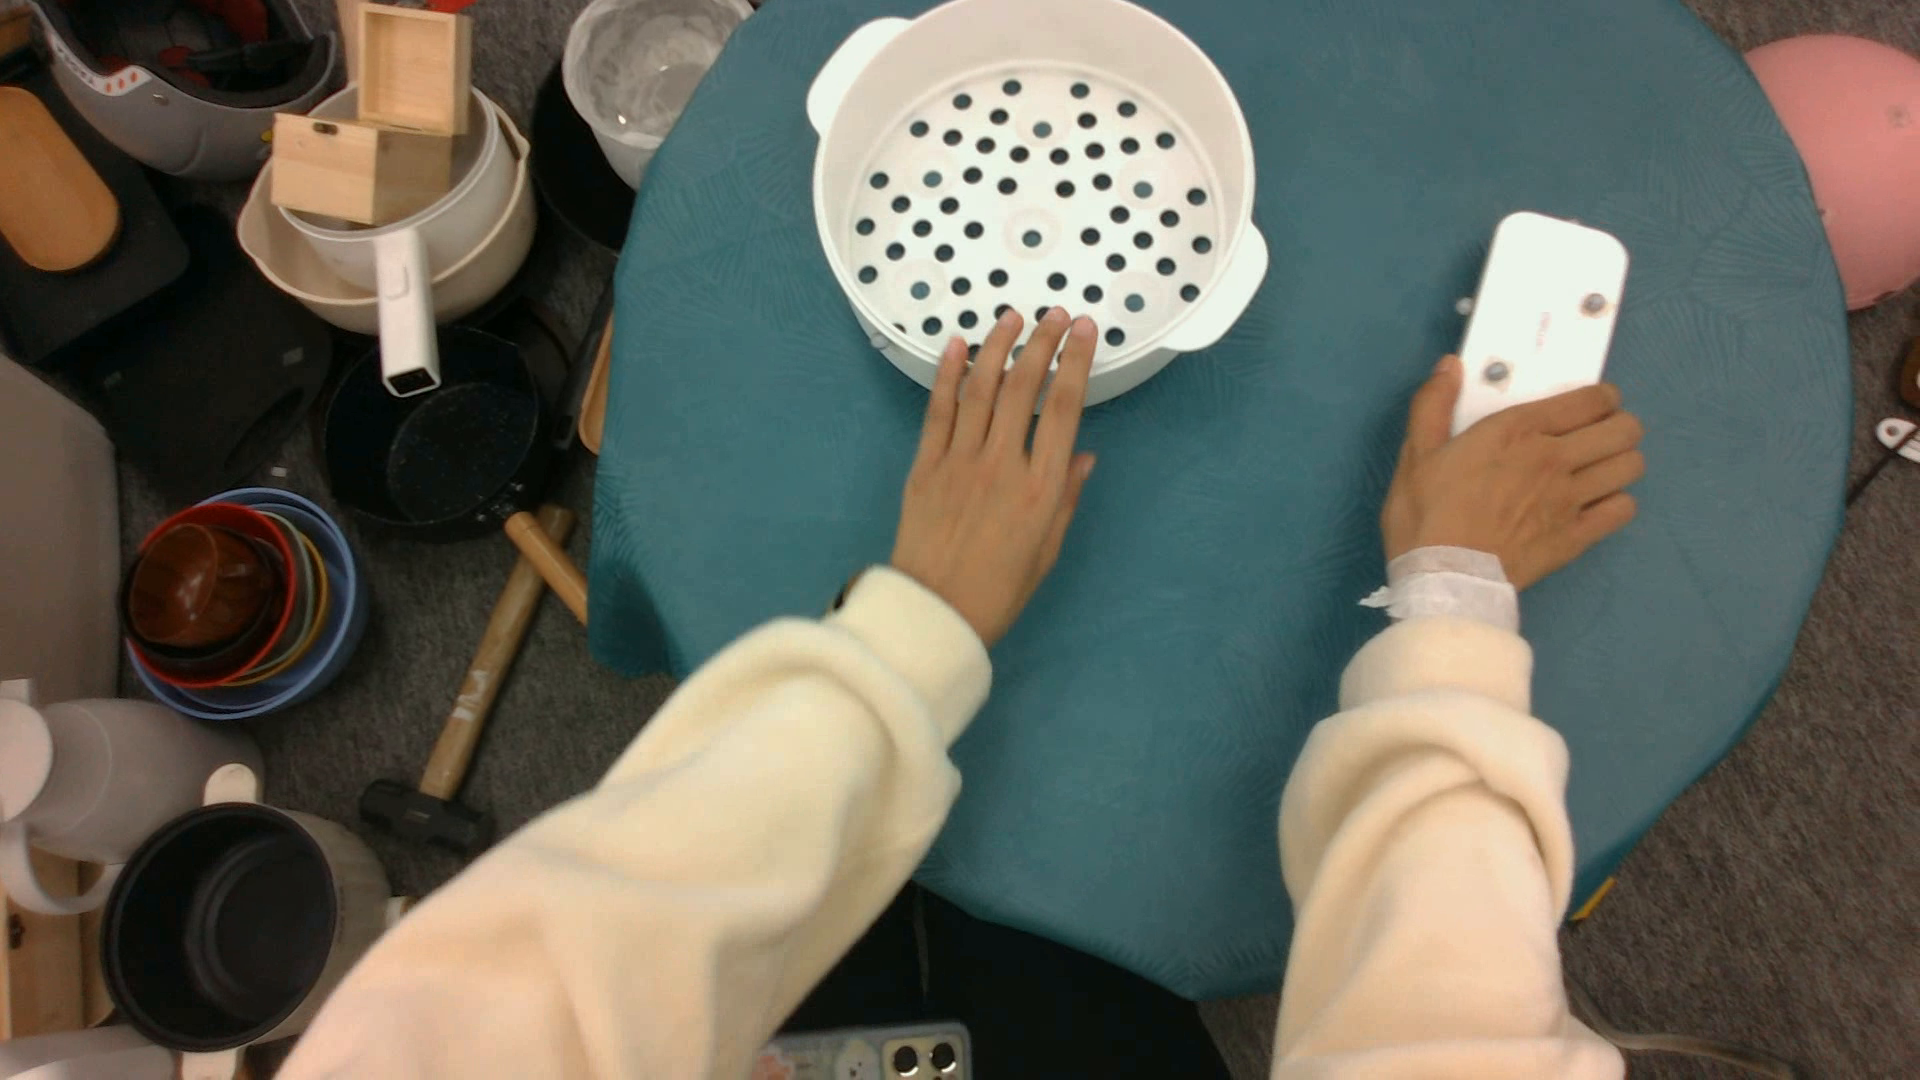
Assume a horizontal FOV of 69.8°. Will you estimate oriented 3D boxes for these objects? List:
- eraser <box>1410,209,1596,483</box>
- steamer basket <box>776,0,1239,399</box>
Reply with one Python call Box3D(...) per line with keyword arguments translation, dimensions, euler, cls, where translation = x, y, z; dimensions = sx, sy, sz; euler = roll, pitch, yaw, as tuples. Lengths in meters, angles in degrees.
Box3D(translation=(0.254, -0.093, 0.649), dimensions=(0.063, 0.034, 0.131), euler=(19, 76, 7), cls="eraser")
Box3D(translation=(0.021, -0.166, 0.659), dimensions=(0.230, 0.069, 0.202), euler=(33, 79, 11), cls="steamer basket")
